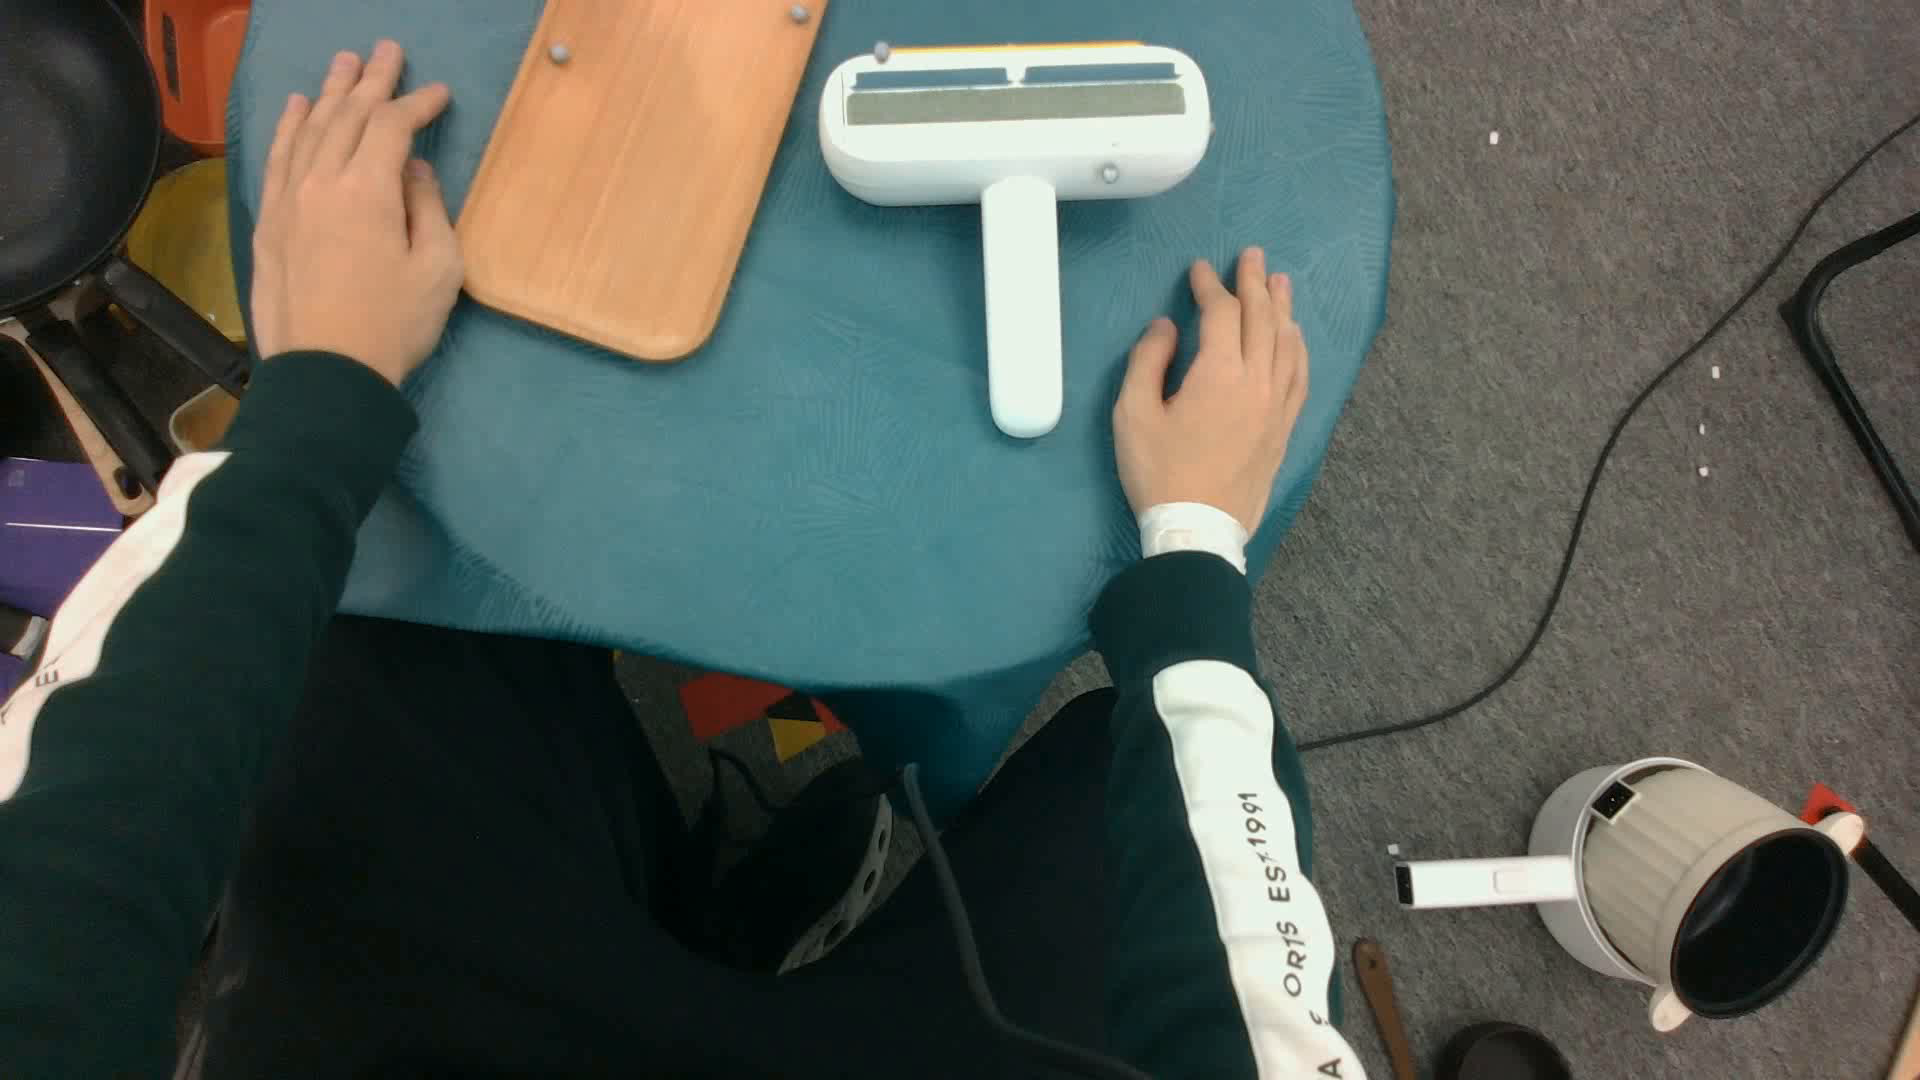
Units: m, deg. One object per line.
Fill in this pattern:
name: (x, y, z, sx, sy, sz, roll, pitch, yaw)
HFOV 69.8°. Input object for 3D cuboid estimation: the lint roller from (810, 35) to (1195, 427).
lint roller: (0.018, -0.155, 0.706, 0.193, 0.074, 0.192, 2, 92, -5)

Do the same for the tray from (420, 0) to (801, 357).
tray: (-0.167, -0.216, 0.684, 0.130, 0.023, 0.251, 18, 75, -7)
